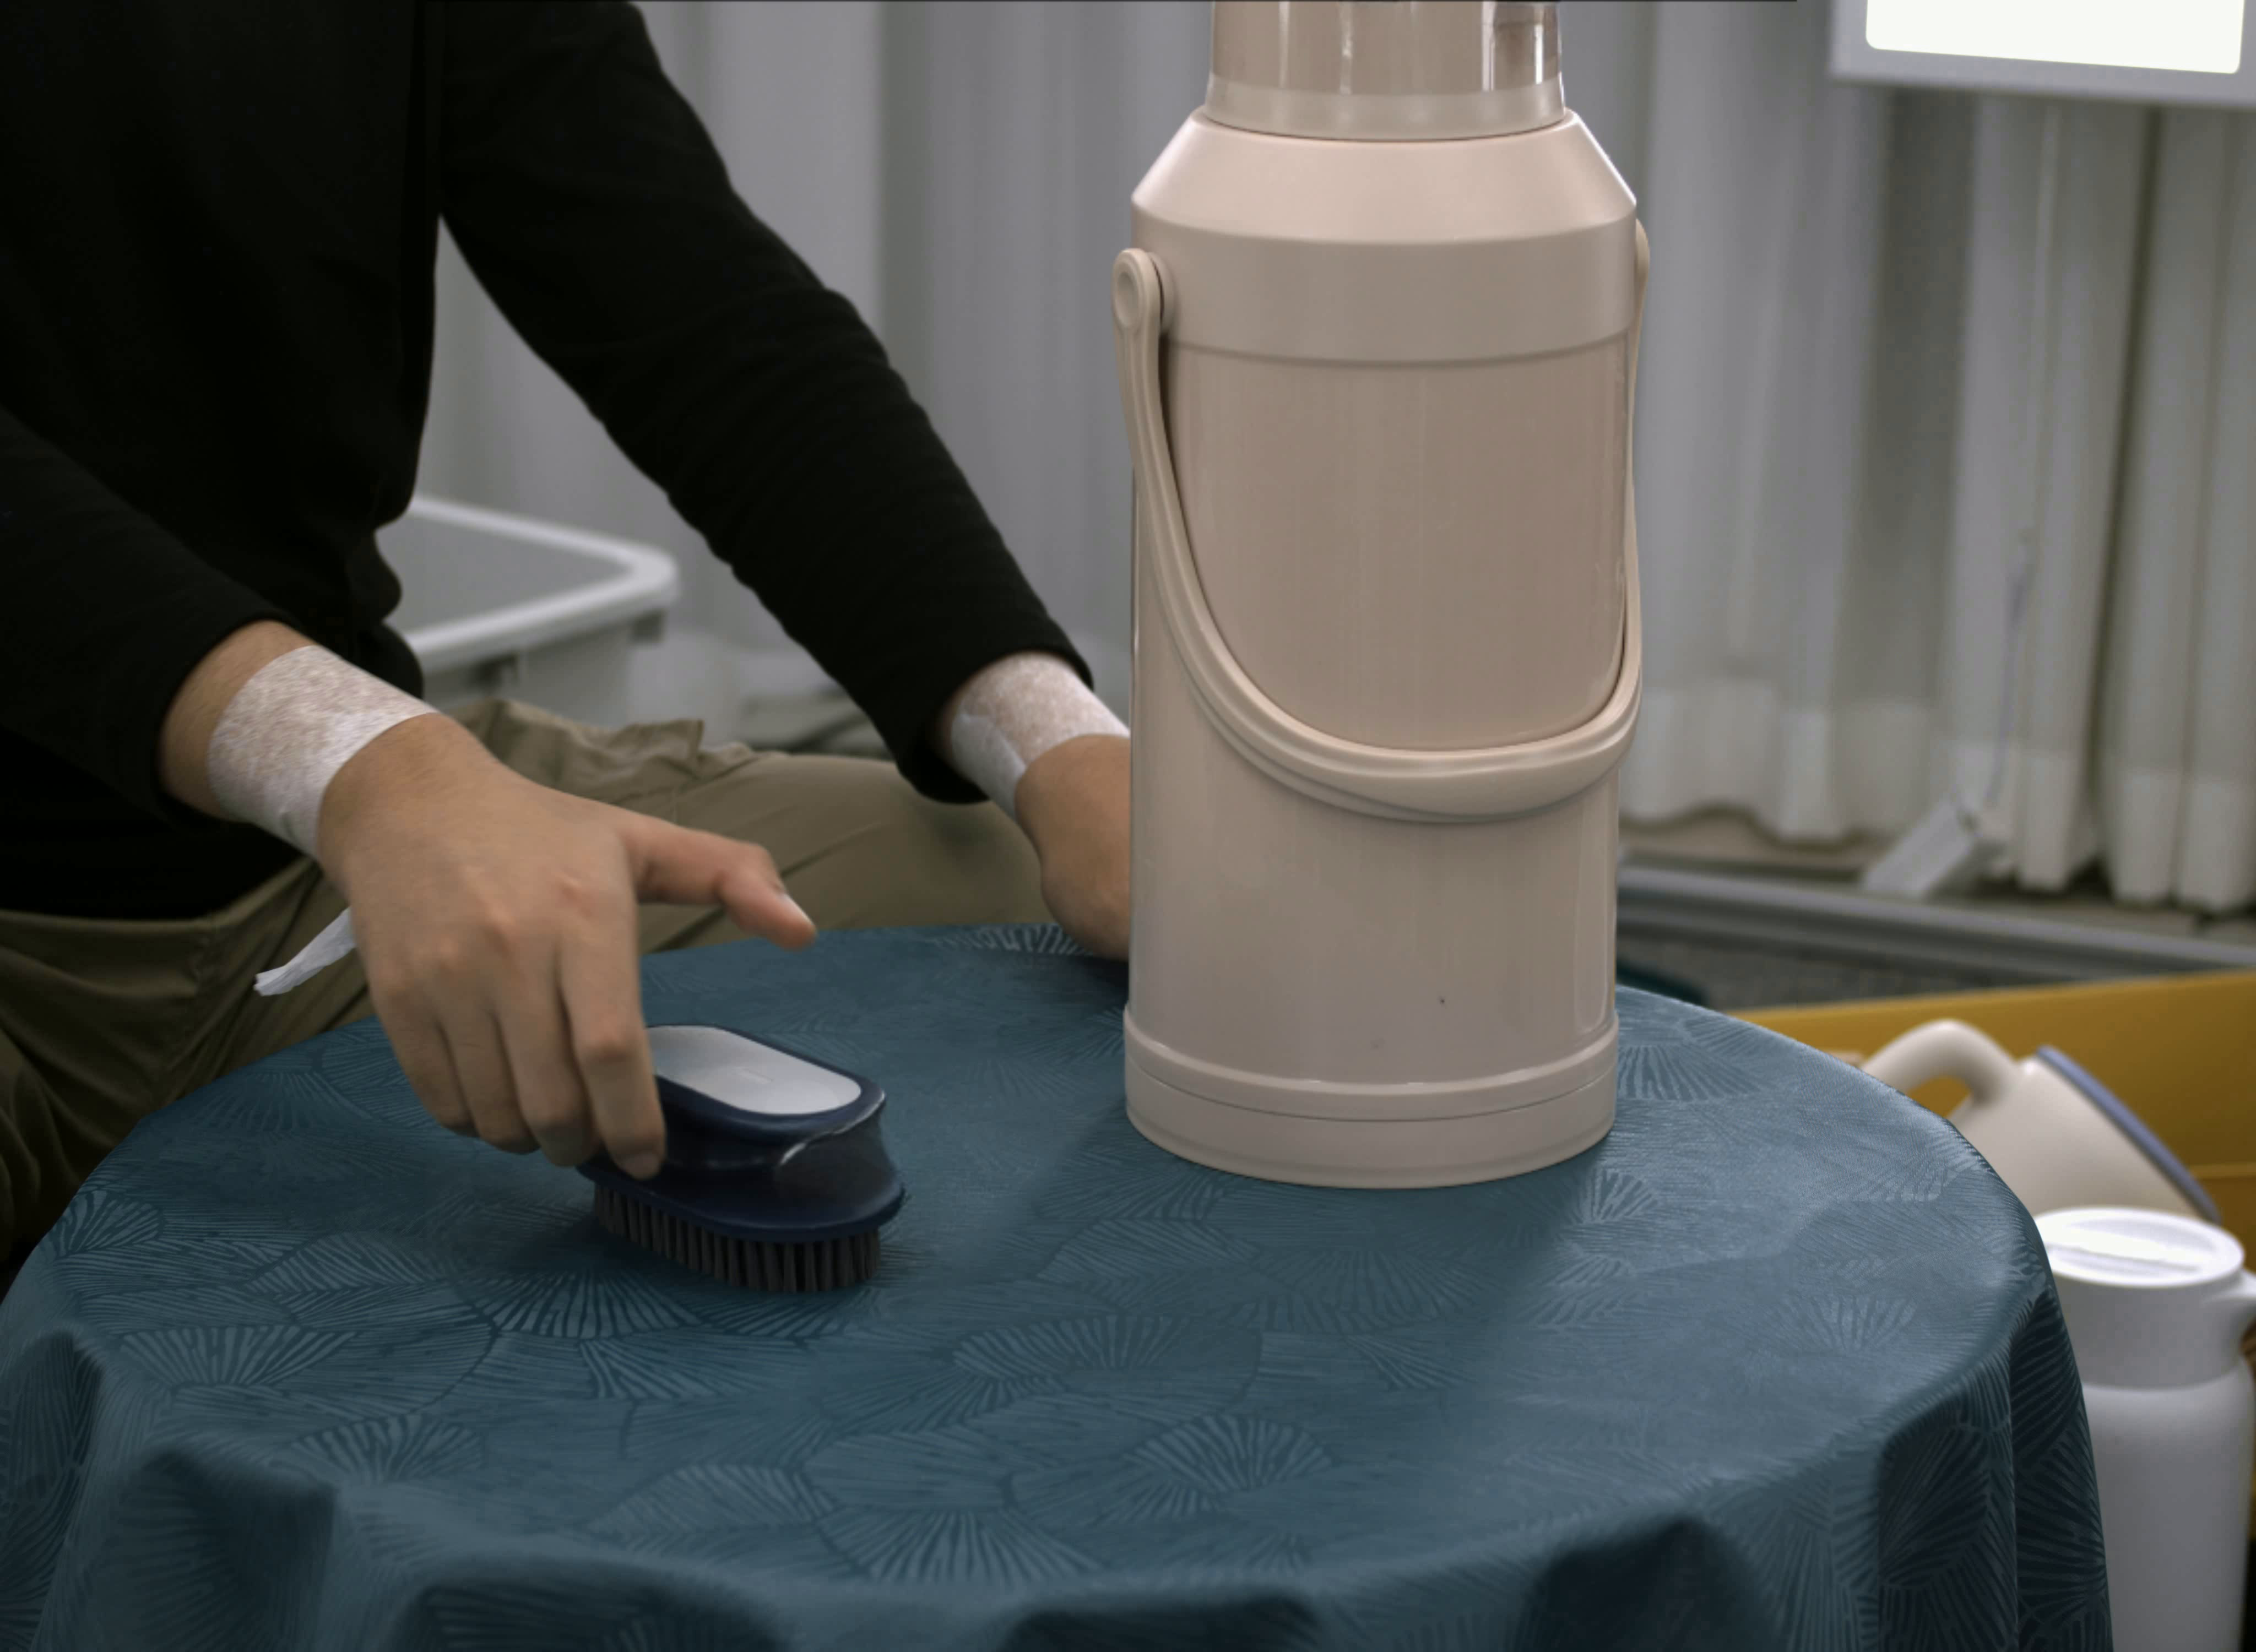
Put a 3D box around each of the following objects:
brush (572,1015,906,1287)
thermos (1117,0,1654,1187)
[{"bbox_3d":[-0.116,0.098,1.564,0.068,0.061,0.120,-9,19,-39],"label":"brush"},{"bbox_3d":[0.076,-0.104,1.657,0.176,0.410,0.204,-9,19,-24],"label":"thermos"}]
